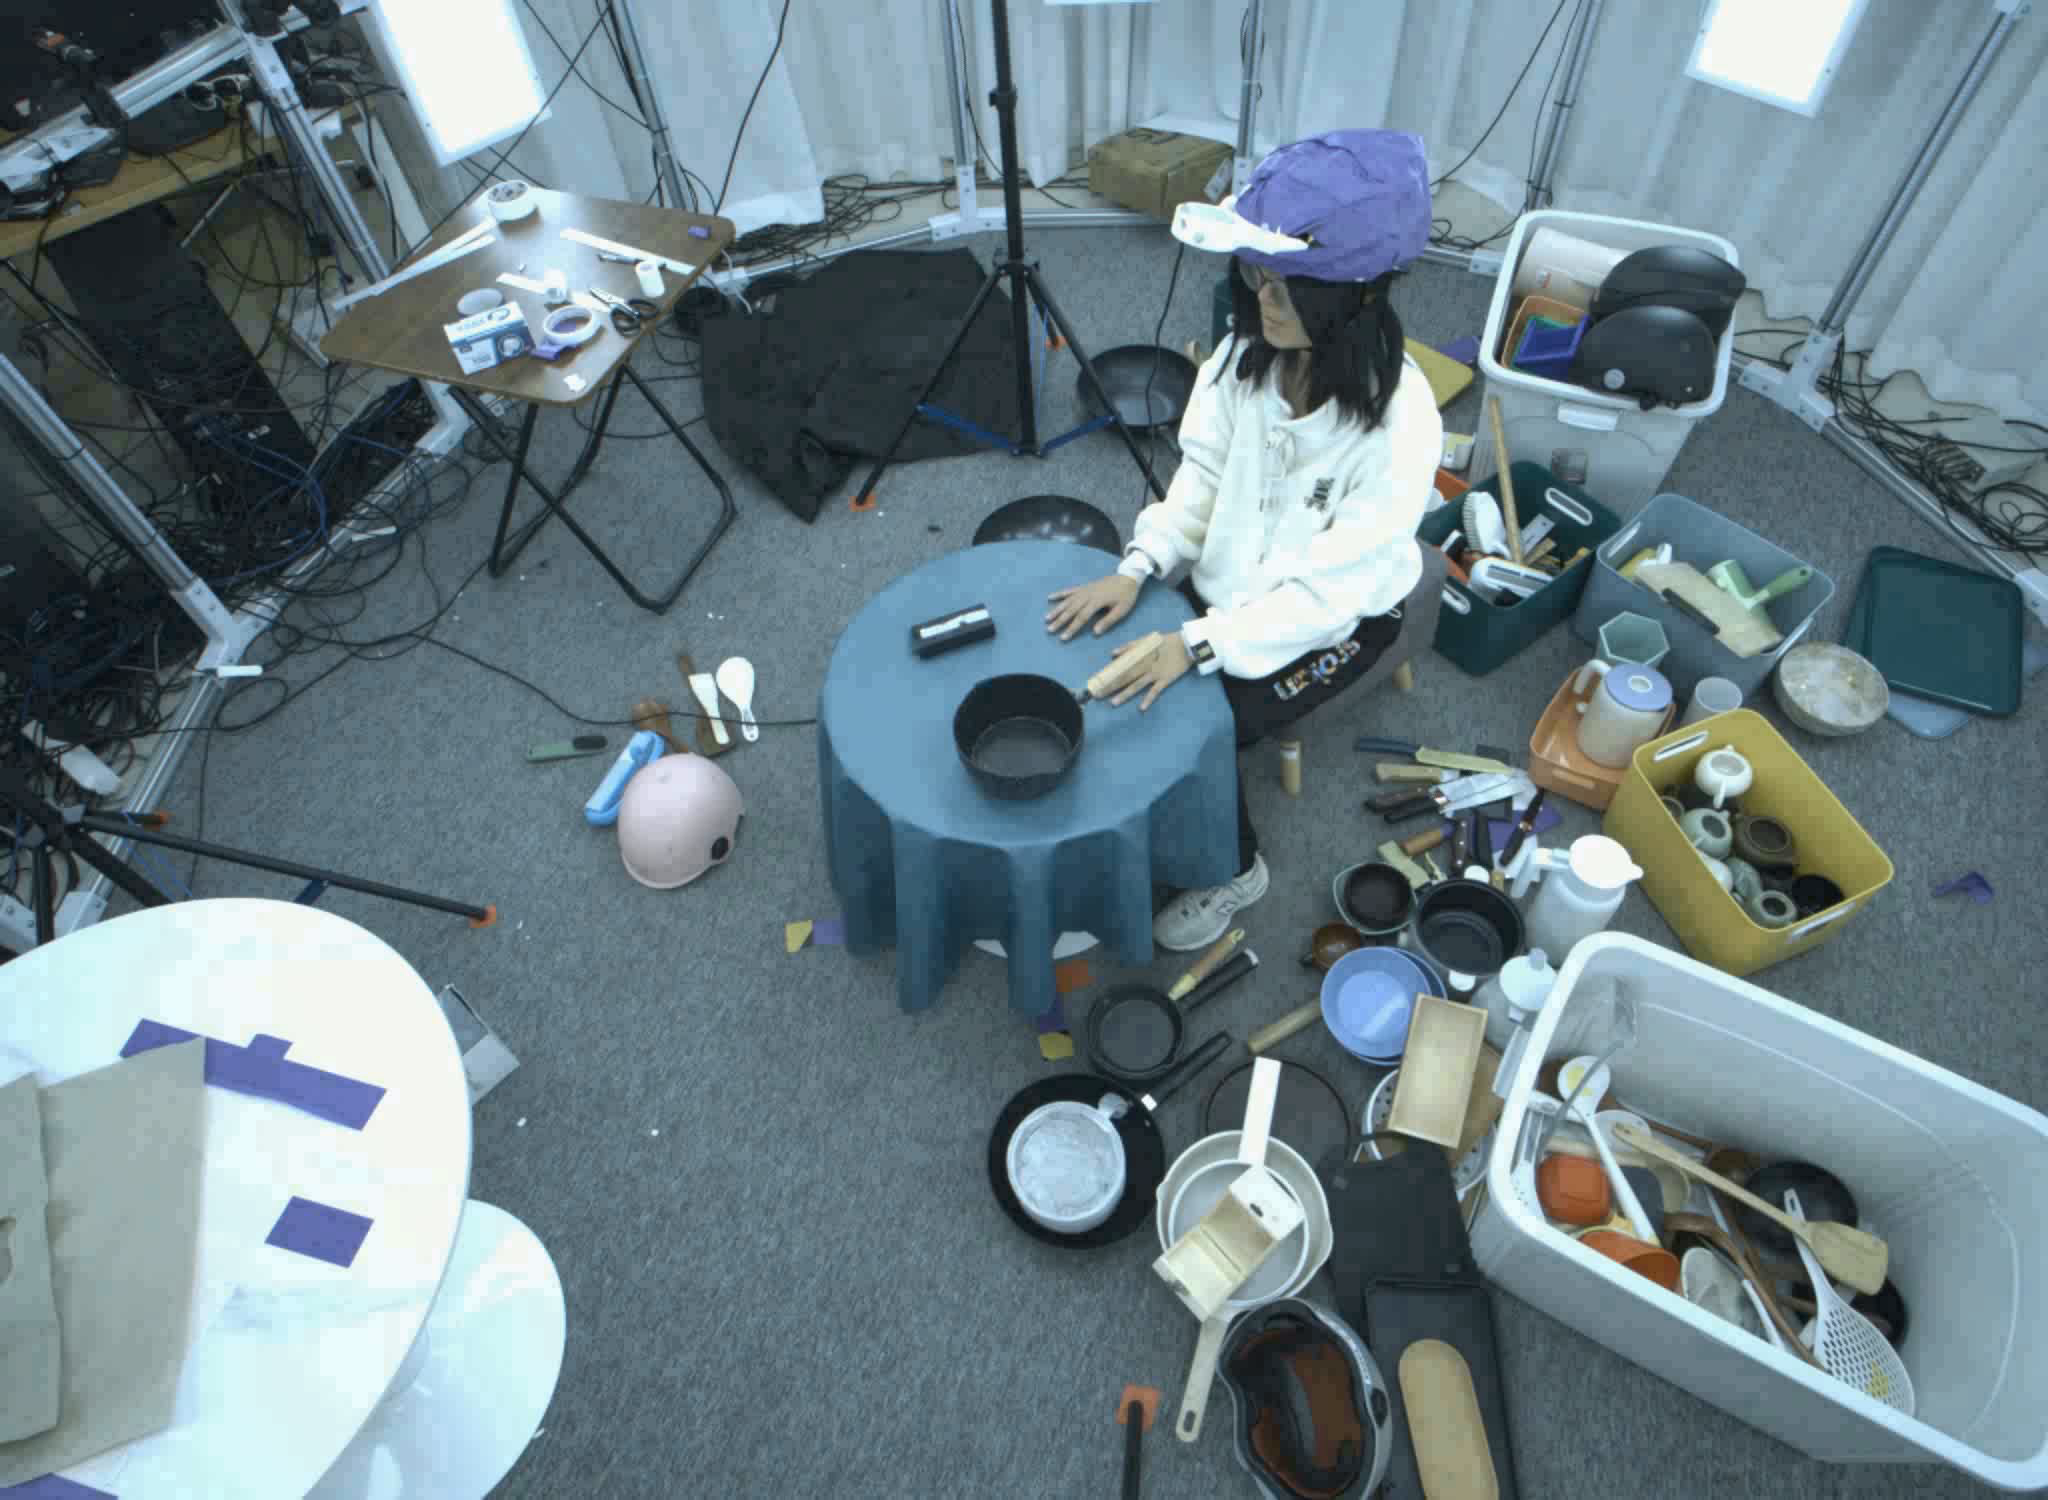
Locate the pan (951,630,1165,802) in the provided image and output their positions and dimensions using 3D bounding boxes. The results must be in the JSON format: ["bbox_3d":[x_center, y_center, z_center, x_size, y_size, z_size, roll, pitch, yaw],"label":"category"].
[{"bbox_3d":[0.058,-0.058,1.760,0.345,0.109,0.203,-32,58,-17],"label":"pan"}]

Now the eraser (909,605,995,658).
[{"bbox_3d":[-0.112,-0.184,1.906,0.126,0.031,0.052,-18,56,-12],"label":"eraser"}]
